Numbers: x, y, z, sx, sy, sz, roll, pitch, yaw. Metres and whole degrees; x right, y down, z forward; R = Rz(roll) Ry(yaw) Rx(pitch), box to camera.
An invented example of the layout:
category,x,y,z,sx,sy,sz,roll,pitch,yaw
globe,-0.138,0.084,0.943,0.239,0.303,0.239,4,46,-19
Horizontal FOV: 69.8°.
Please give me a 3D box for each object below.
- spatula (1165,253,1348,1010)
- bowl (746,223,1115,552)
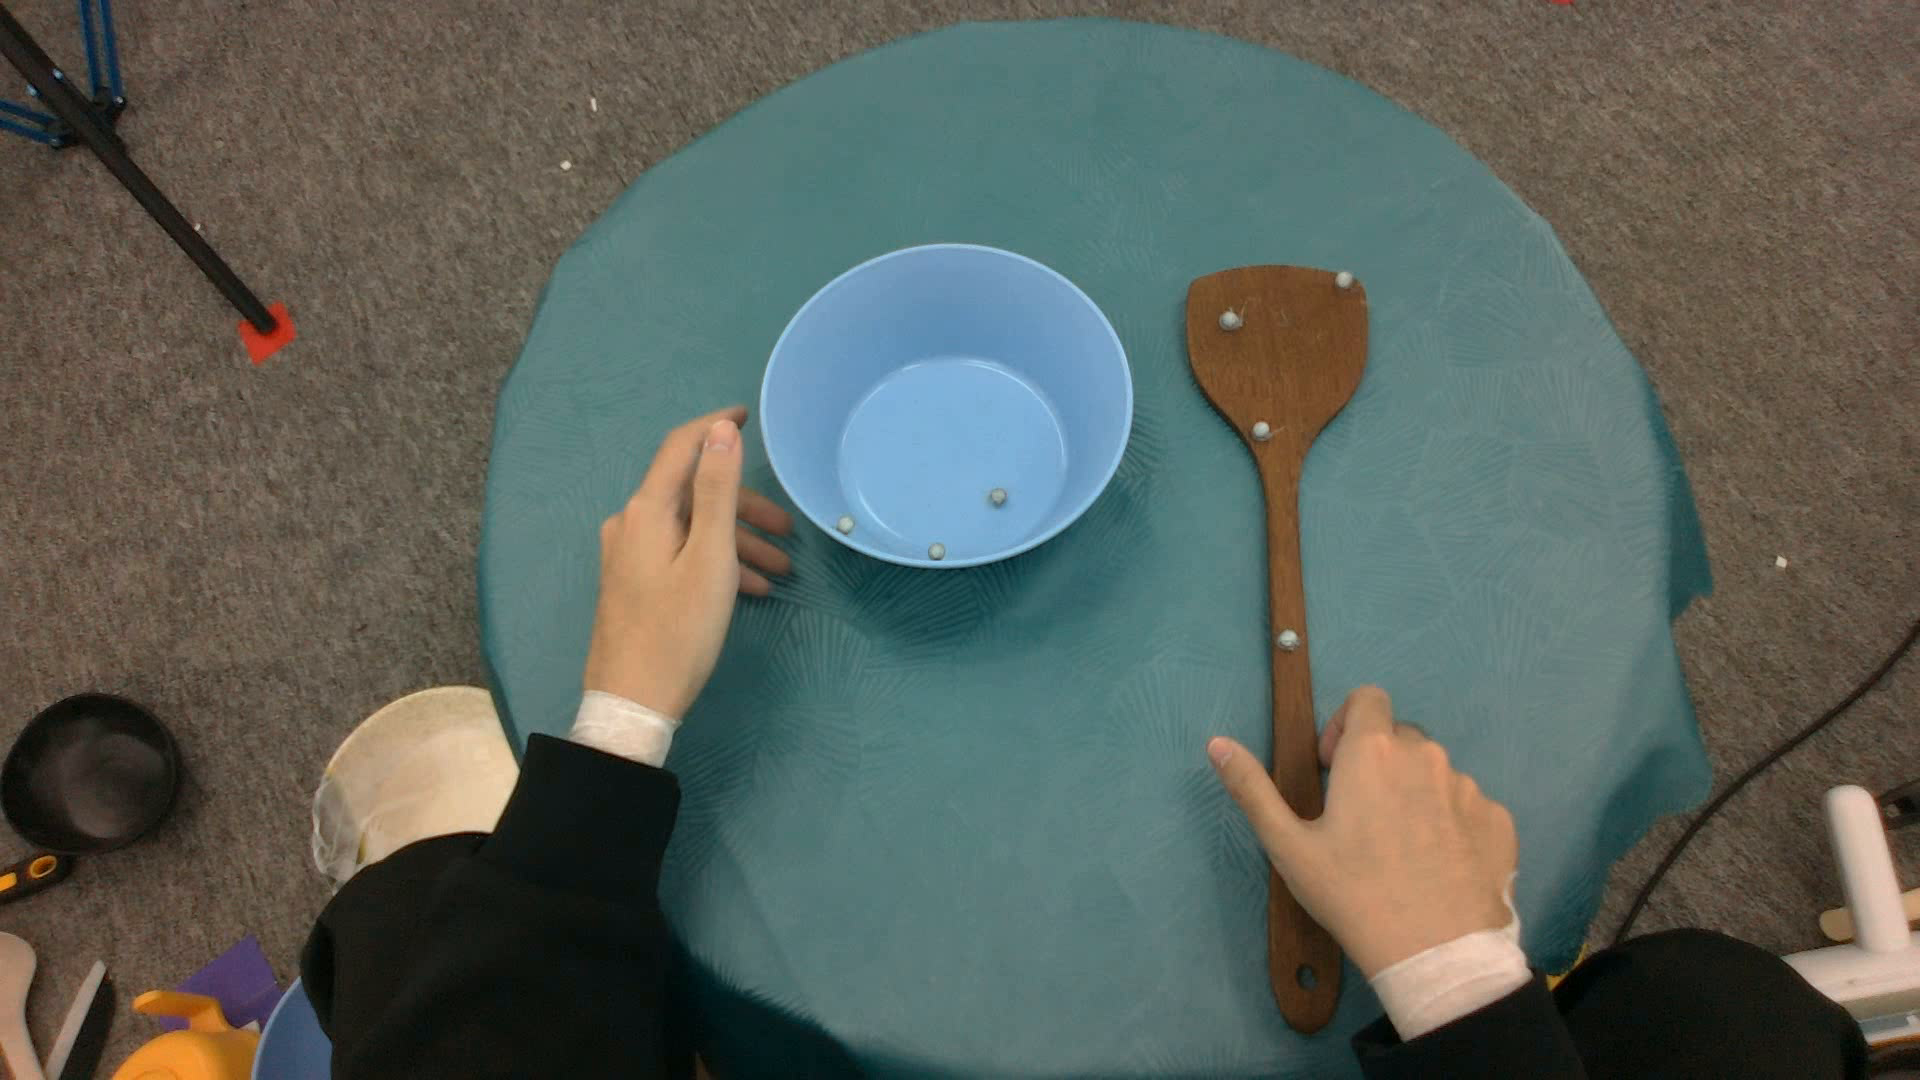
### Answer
category,x,y,z,sx,sy,sz,roll,pitch,yaw
spatula,0.150,0.023,0.664,0.096,0.016,0.387,1,66,3
bowl,-0.013,-0.064,0.679,0.176,0.070,0.176,-1,67,2
